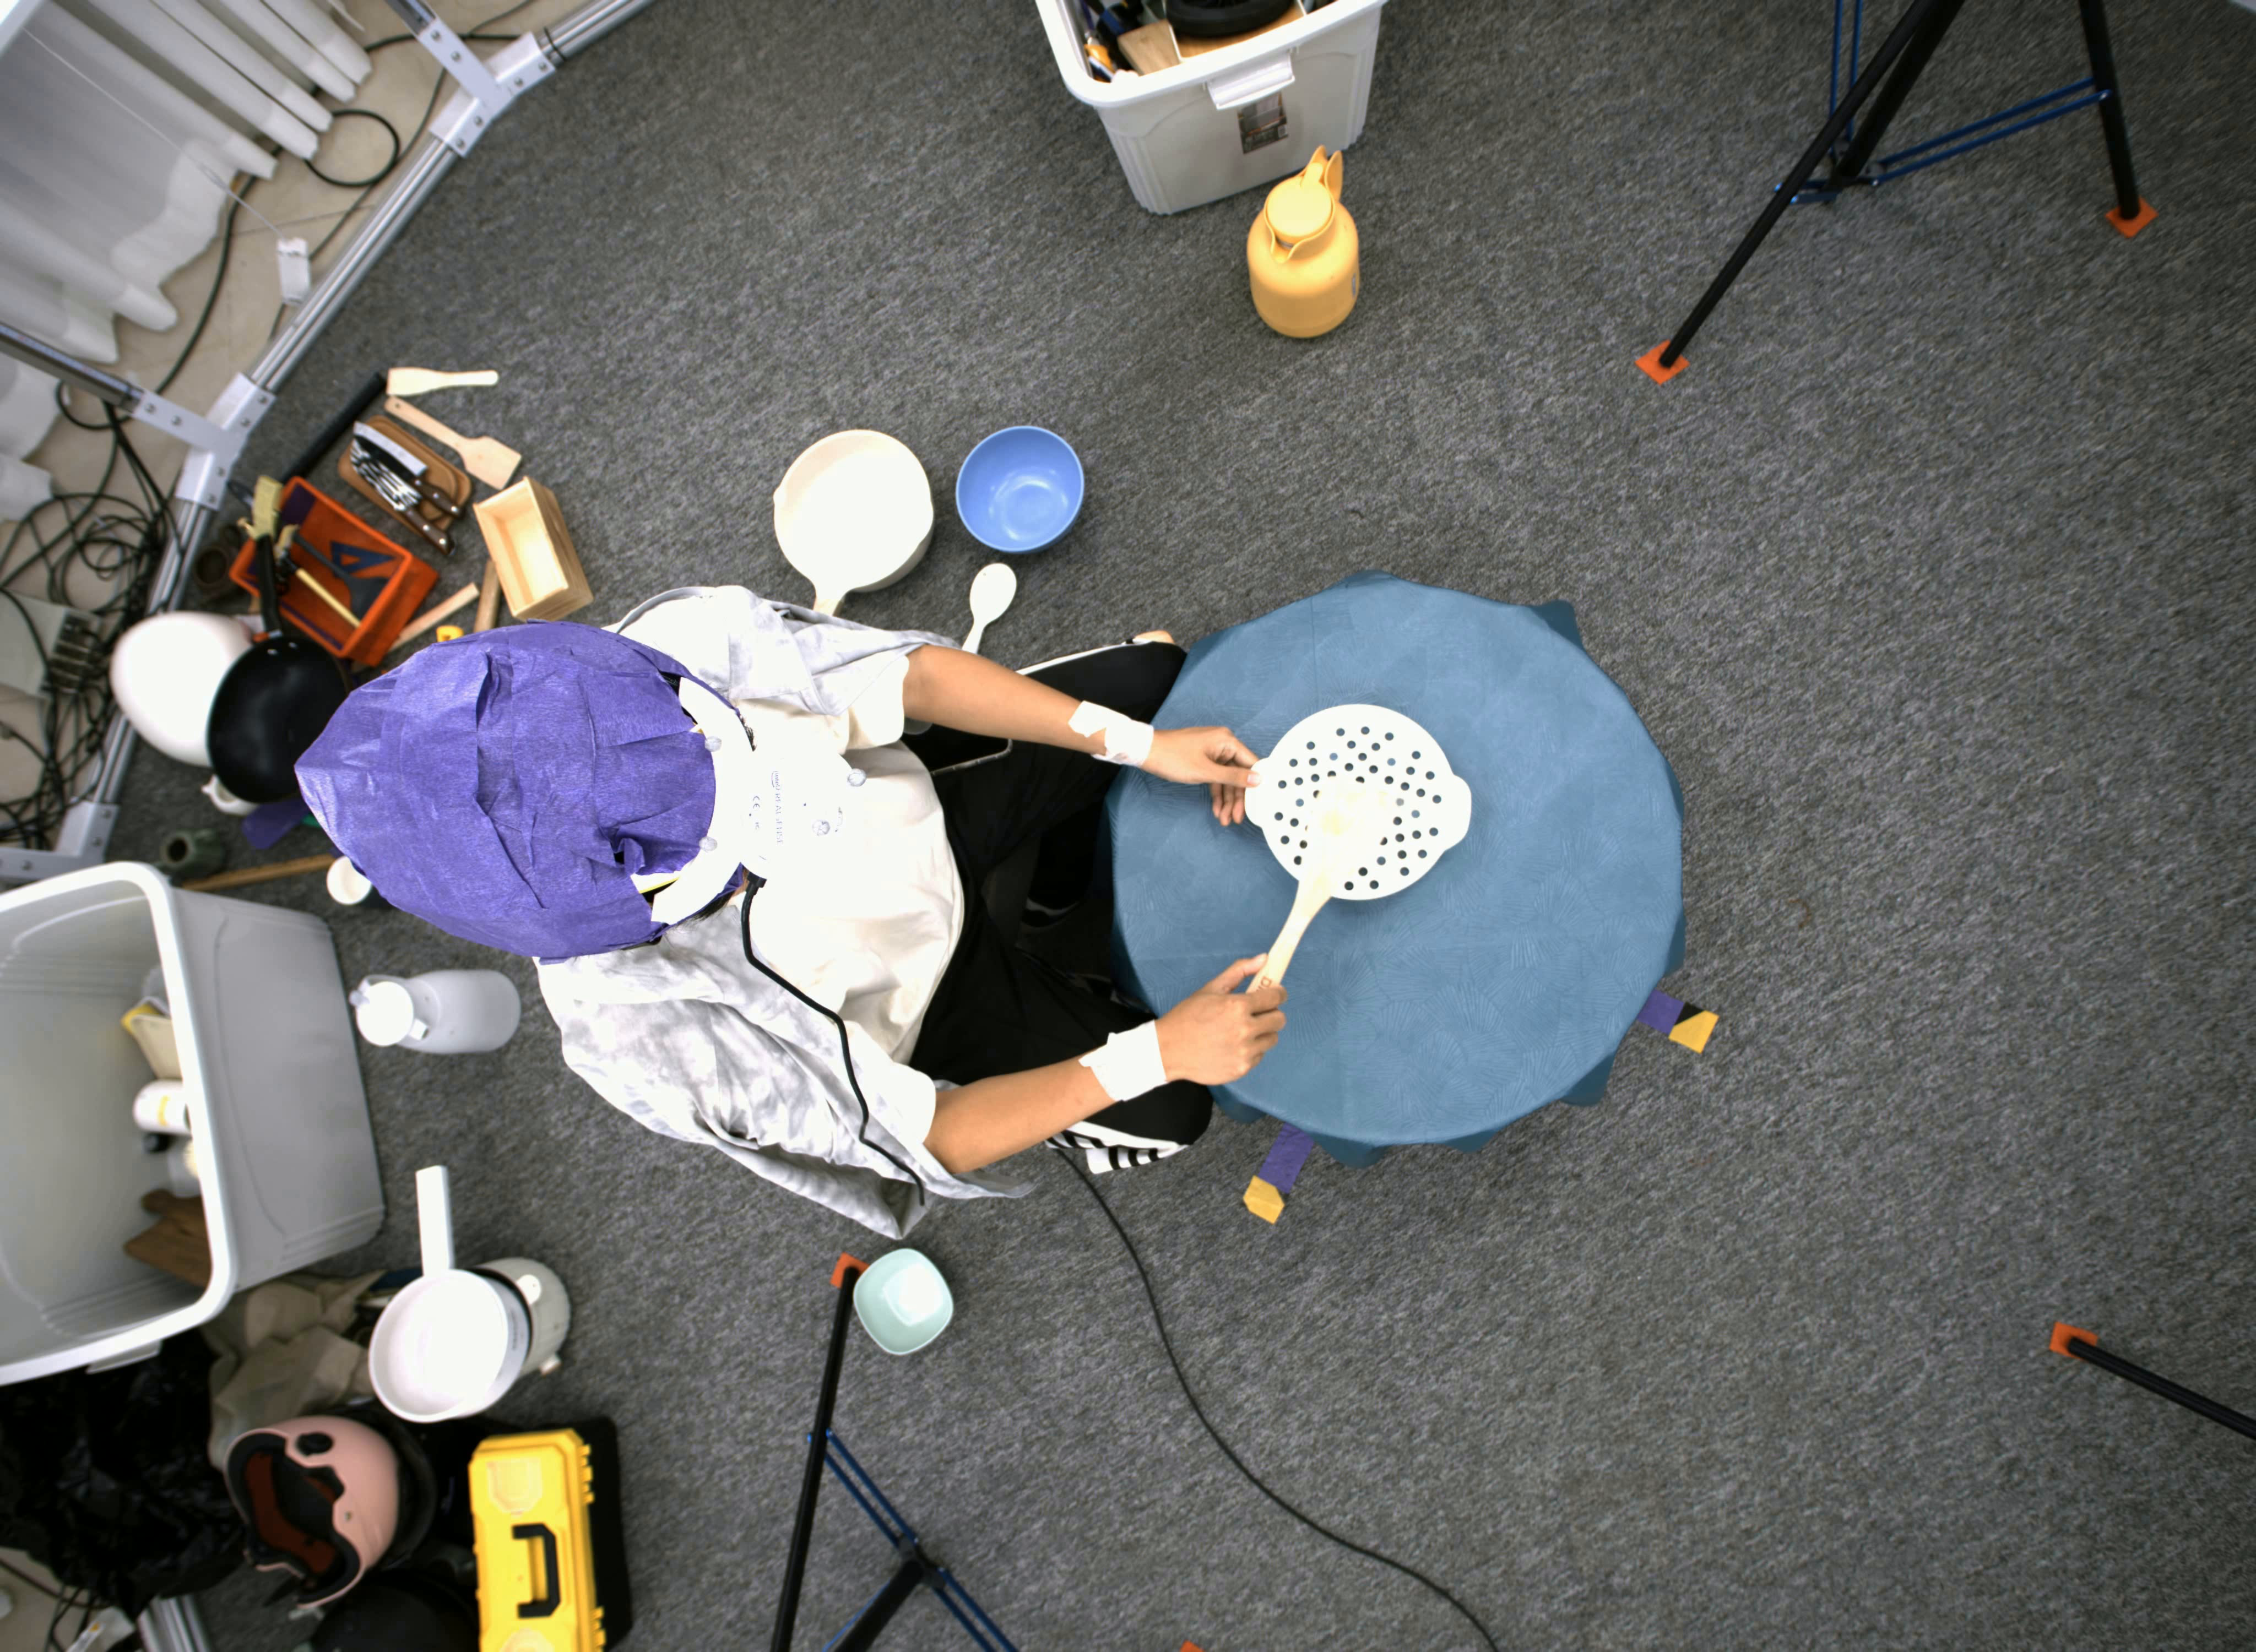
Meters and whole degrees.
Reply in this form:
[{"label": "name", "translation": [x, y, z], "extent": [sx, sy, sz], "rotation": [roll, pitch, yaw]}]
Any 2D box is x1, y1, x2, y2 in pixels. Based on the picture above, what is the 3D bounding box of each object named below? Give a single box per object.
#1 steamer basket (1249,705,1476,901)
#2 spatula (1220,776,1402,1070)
[{"label": "steamer basket", "translation": [0.243, -0.023, 1.435], "extent": [0.231, 0.069, 0.201], "rotation": [6, 86, 12]}, {"label": "spatula", "translation": [0.168, 0.089, 1.343], "extent": [0.080, 0.017, 0.322], "rotation": [28, 73, 5]}]
